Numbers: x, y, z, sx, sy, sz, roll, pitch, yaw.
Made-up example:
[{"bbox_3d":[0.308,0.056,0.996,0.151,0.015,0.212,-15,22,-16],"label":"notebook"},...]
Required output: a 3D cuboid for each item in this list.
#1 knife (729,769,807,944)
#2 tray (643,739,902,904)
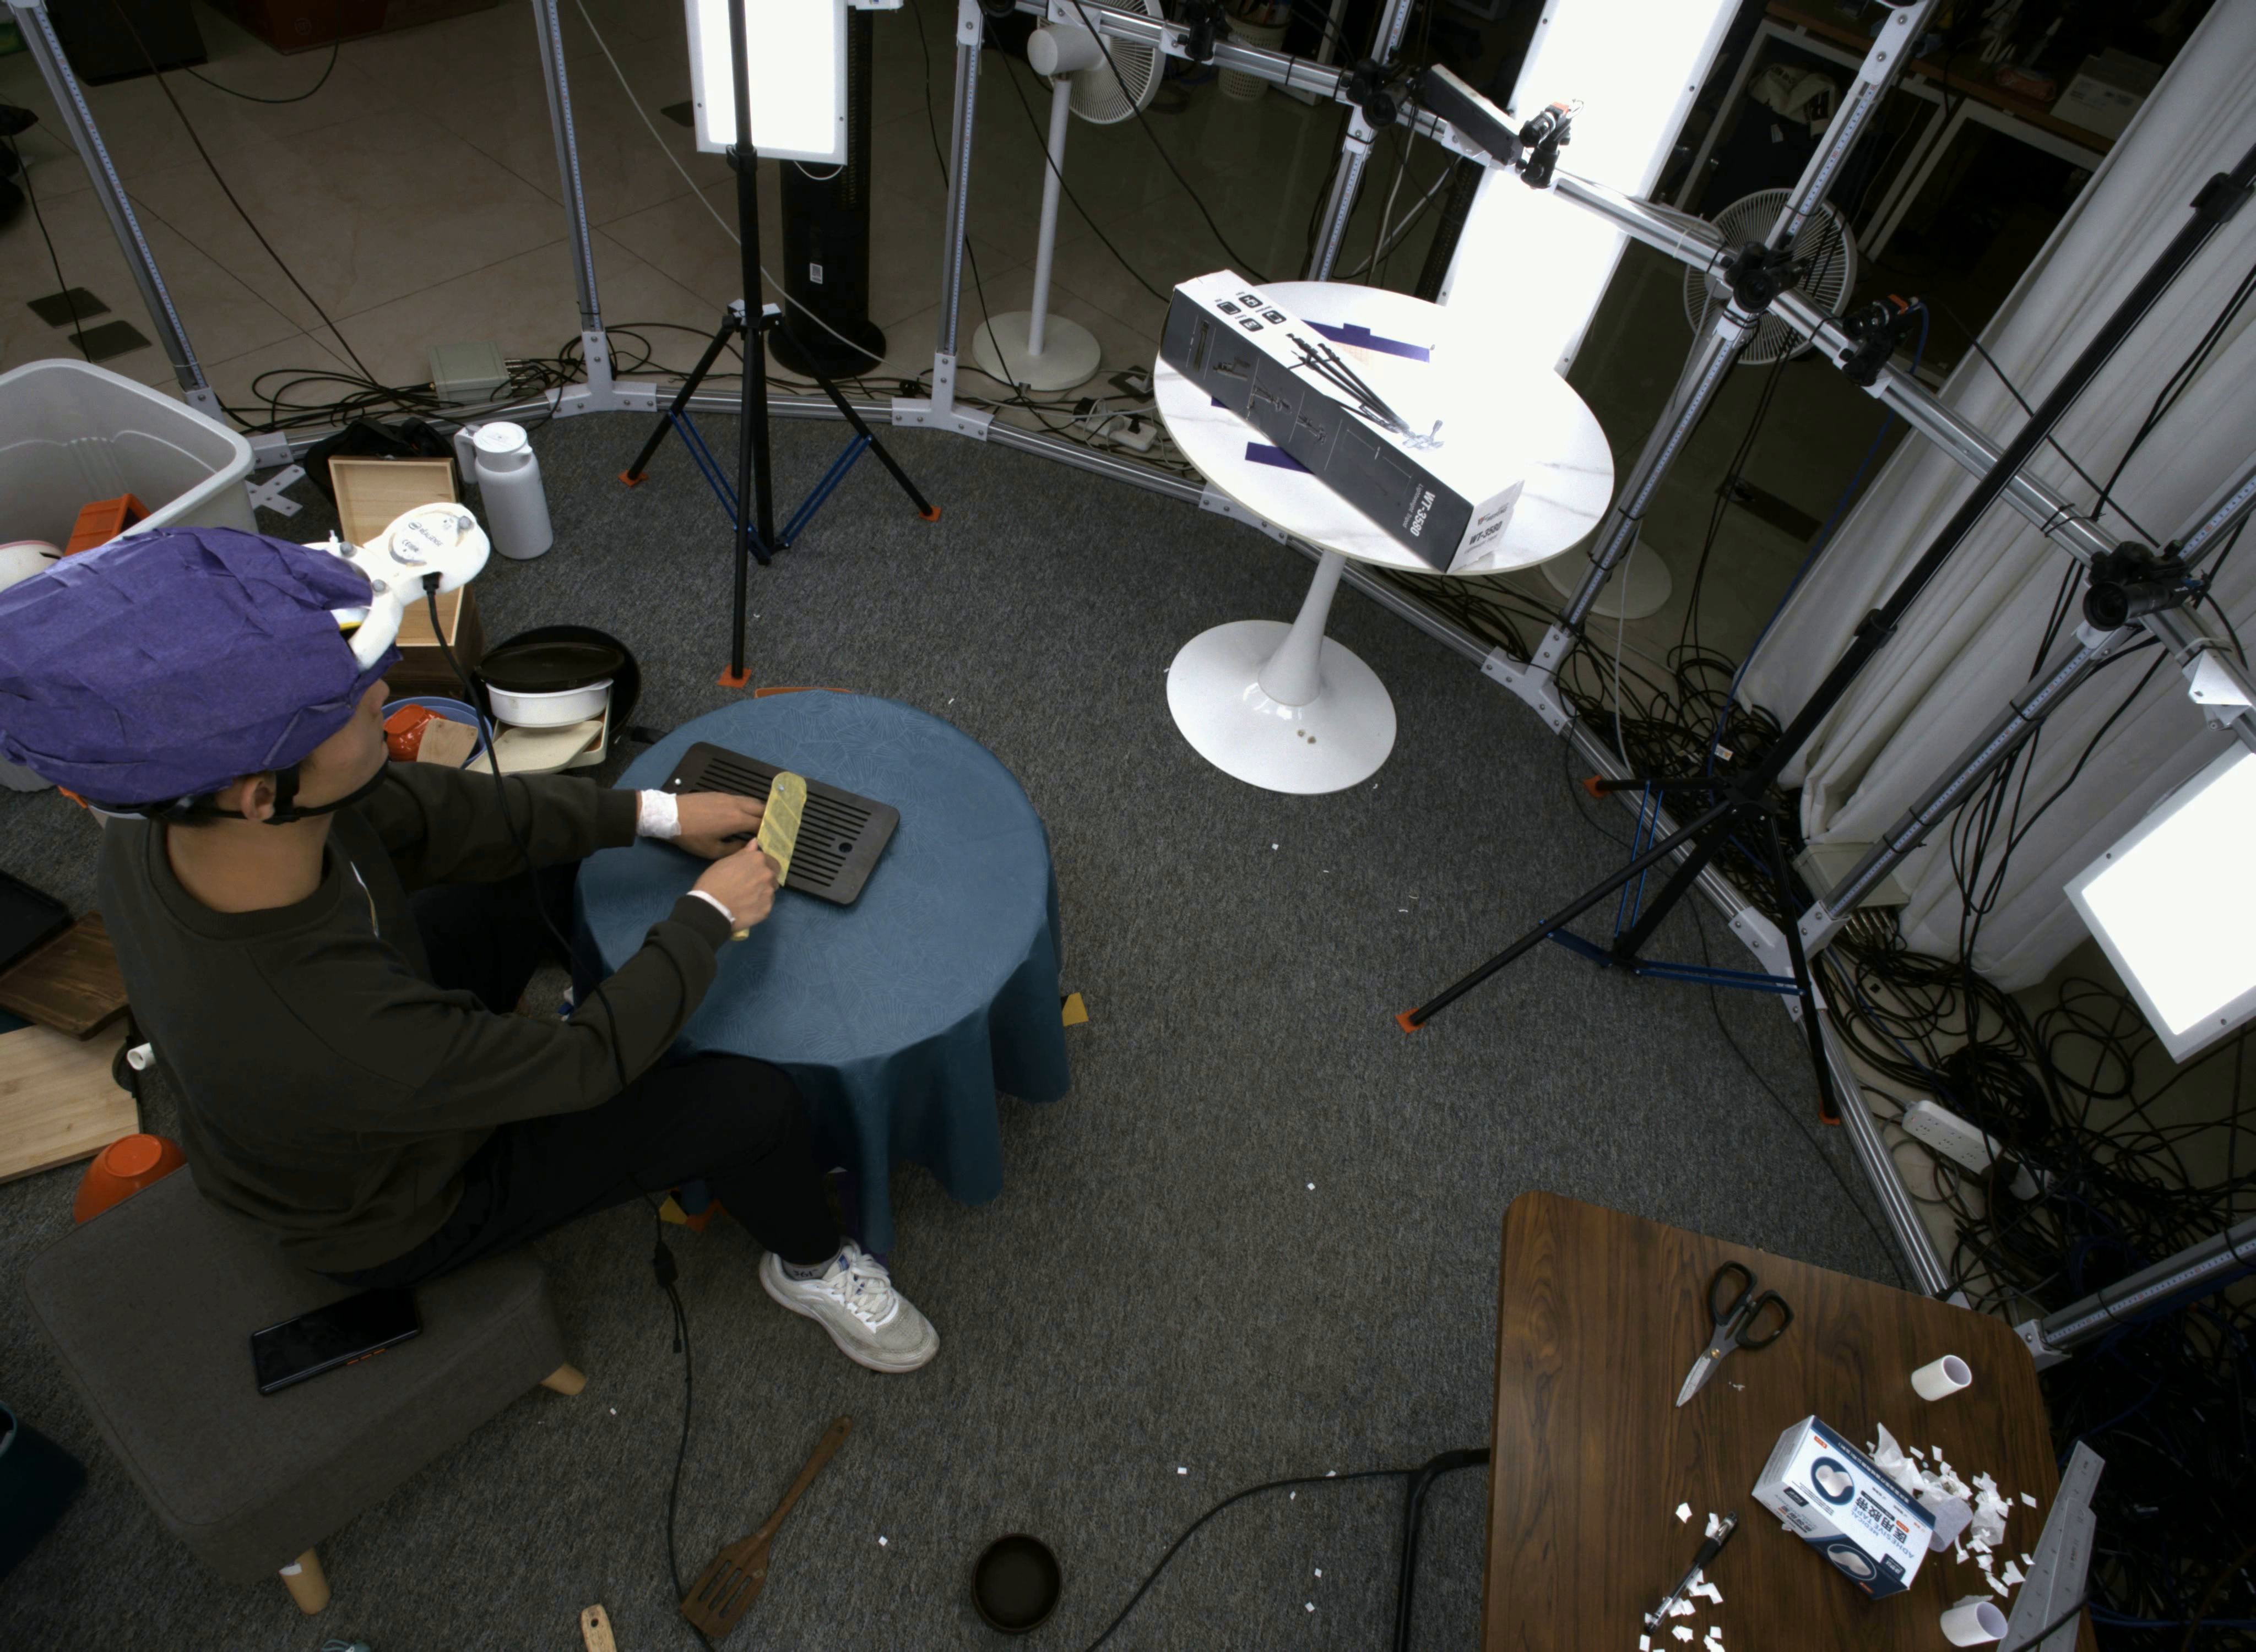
[{"bbox_3d":[-0.450,0.035,1.636,0.026,0.084,0.284,-11,45,20],"label":"knife"},{"bbox_3d":[-0.470,-0.007,1.717,0.303,0.019,0.168,19,52,1],"label":"tray"}]
